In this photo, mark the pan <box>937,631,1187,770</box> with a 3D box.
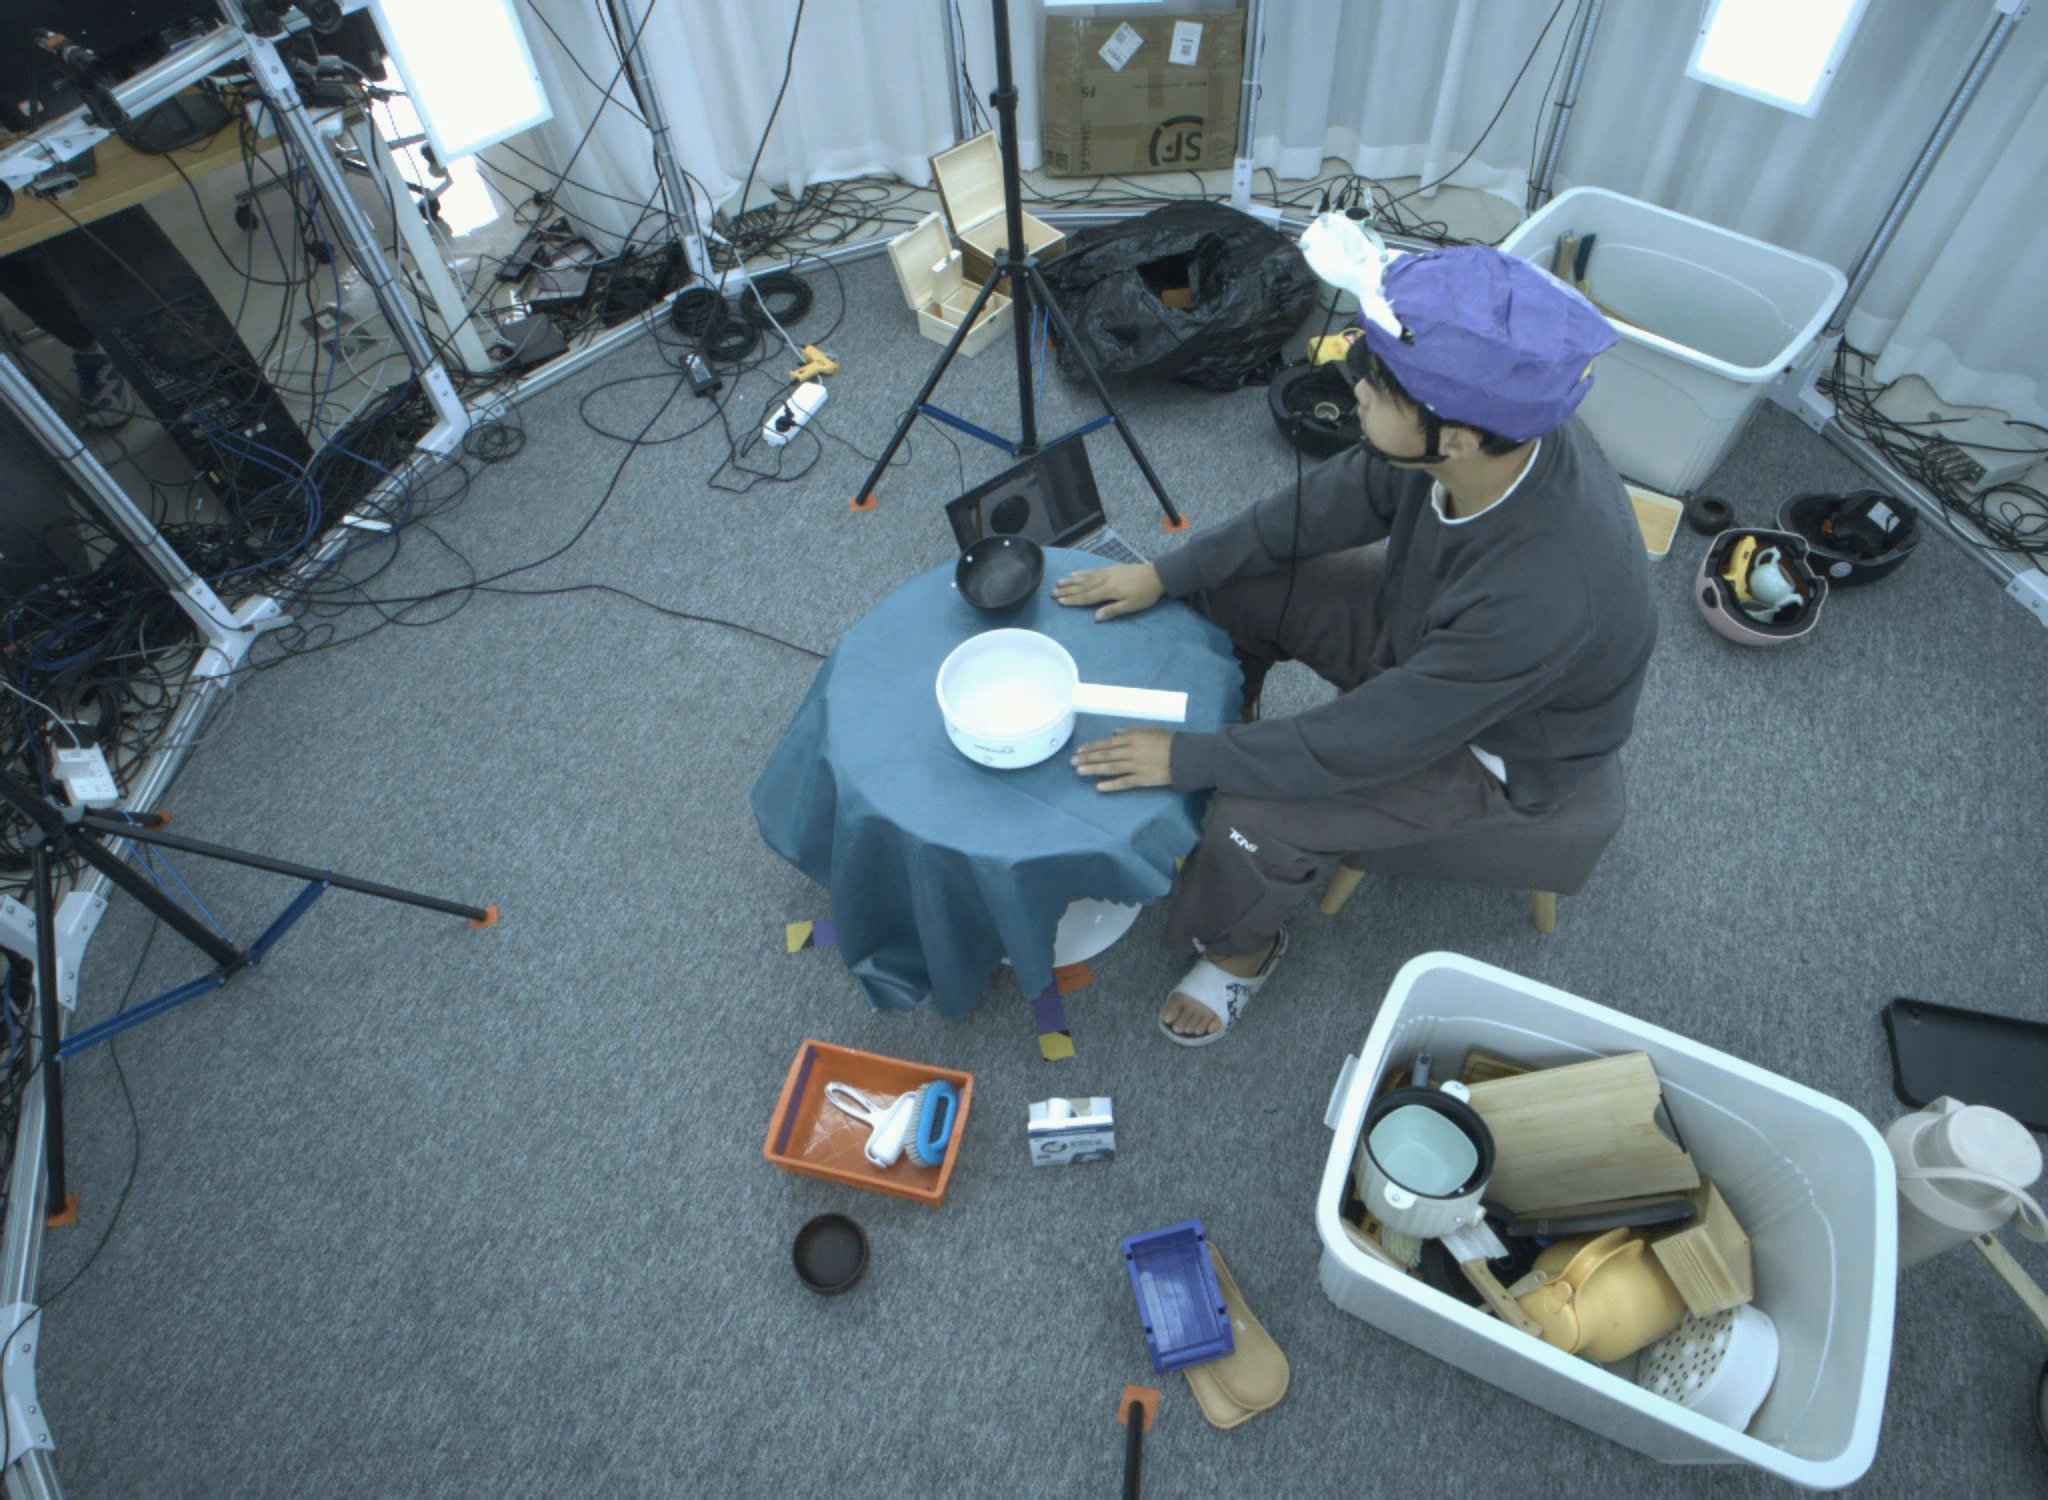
[{"bbox_3d":[0.054,-0.057,1.772,0.354,0.103,0.200,8,53,4],"label":"pan"}]

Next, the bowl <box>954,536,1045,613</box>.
[{"bbox_3d":[-0.037,-0.270,1.939,0.136,0.067,0.170,17,55,13],"label":"bowl"}]
